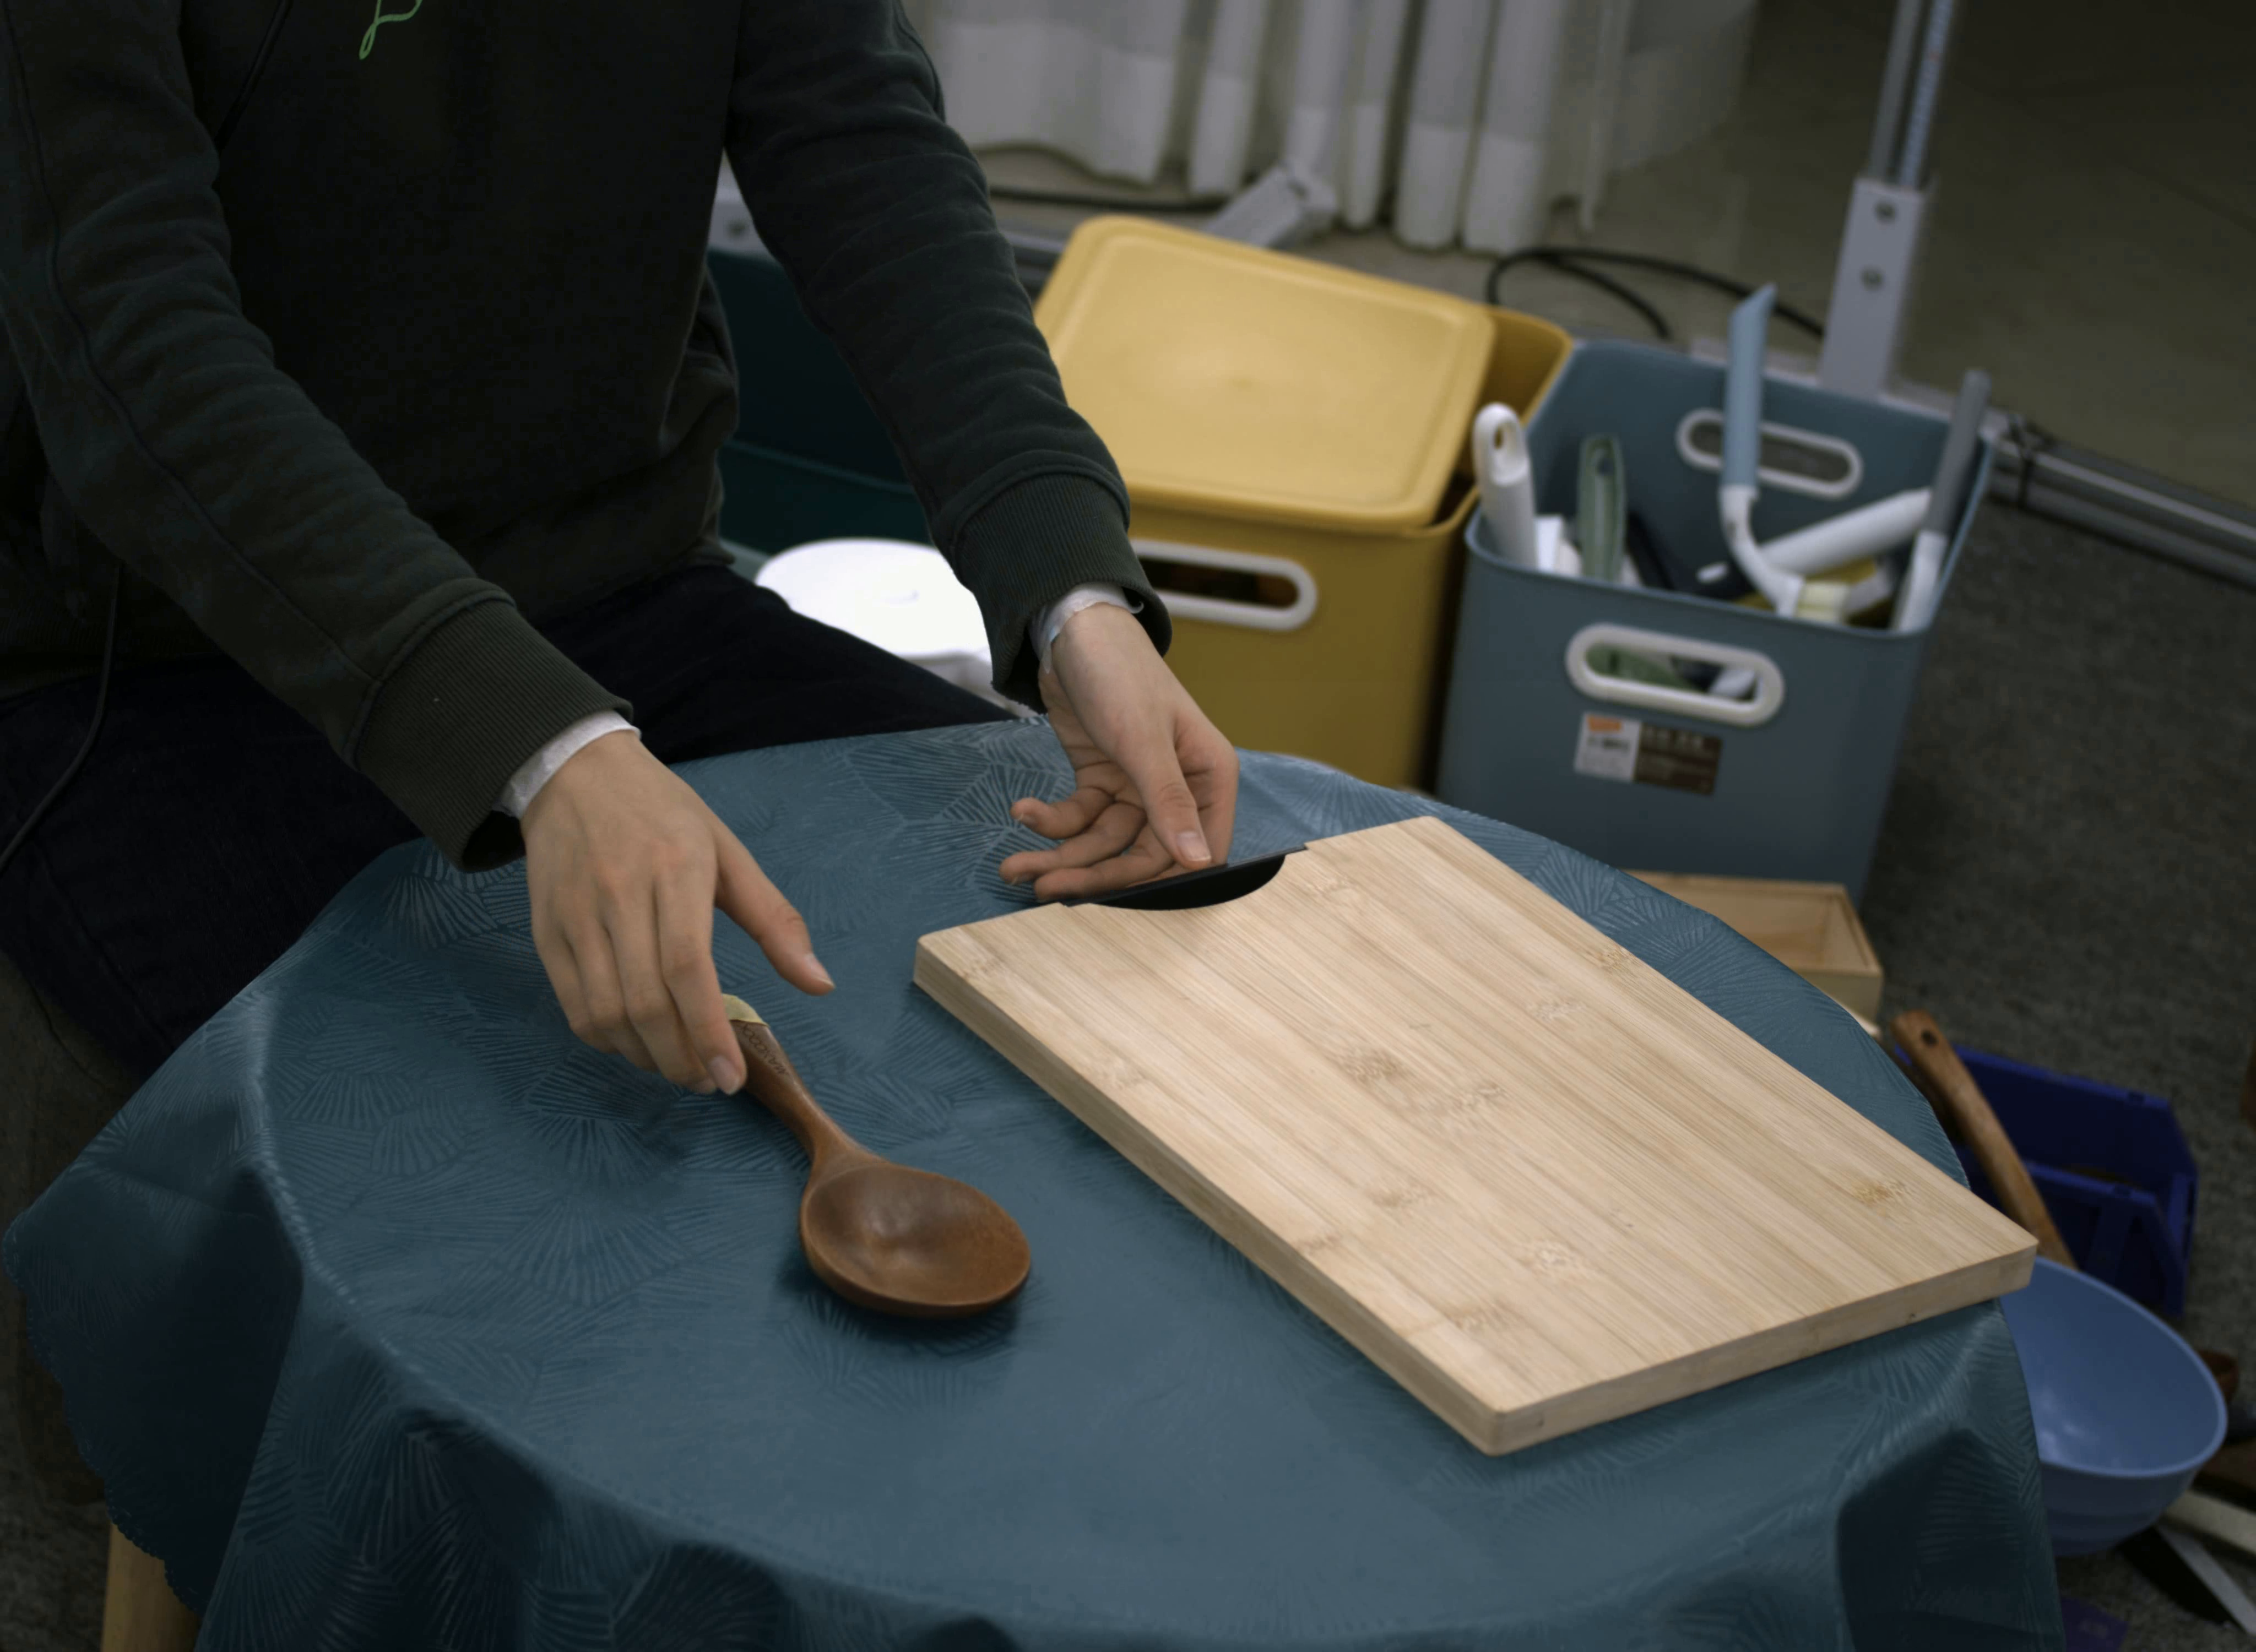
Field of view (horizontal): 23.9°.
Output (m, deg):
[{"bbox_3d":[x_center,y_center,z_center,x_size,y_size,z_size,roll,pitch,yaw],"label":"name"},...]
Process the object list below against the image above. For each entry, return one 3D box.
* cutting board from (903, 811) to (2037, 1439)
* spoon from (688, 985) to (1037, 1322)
[{"bbox_3d":[0.113,0.096,1.862,0.249,0.023,0.352,-12,32,-34],"label":"cutting board"},{"bbox_3d":[-0.098,0.110,1.785,0.075,0.017,0.218,-9,31,-25],"label":"spoon"}]
